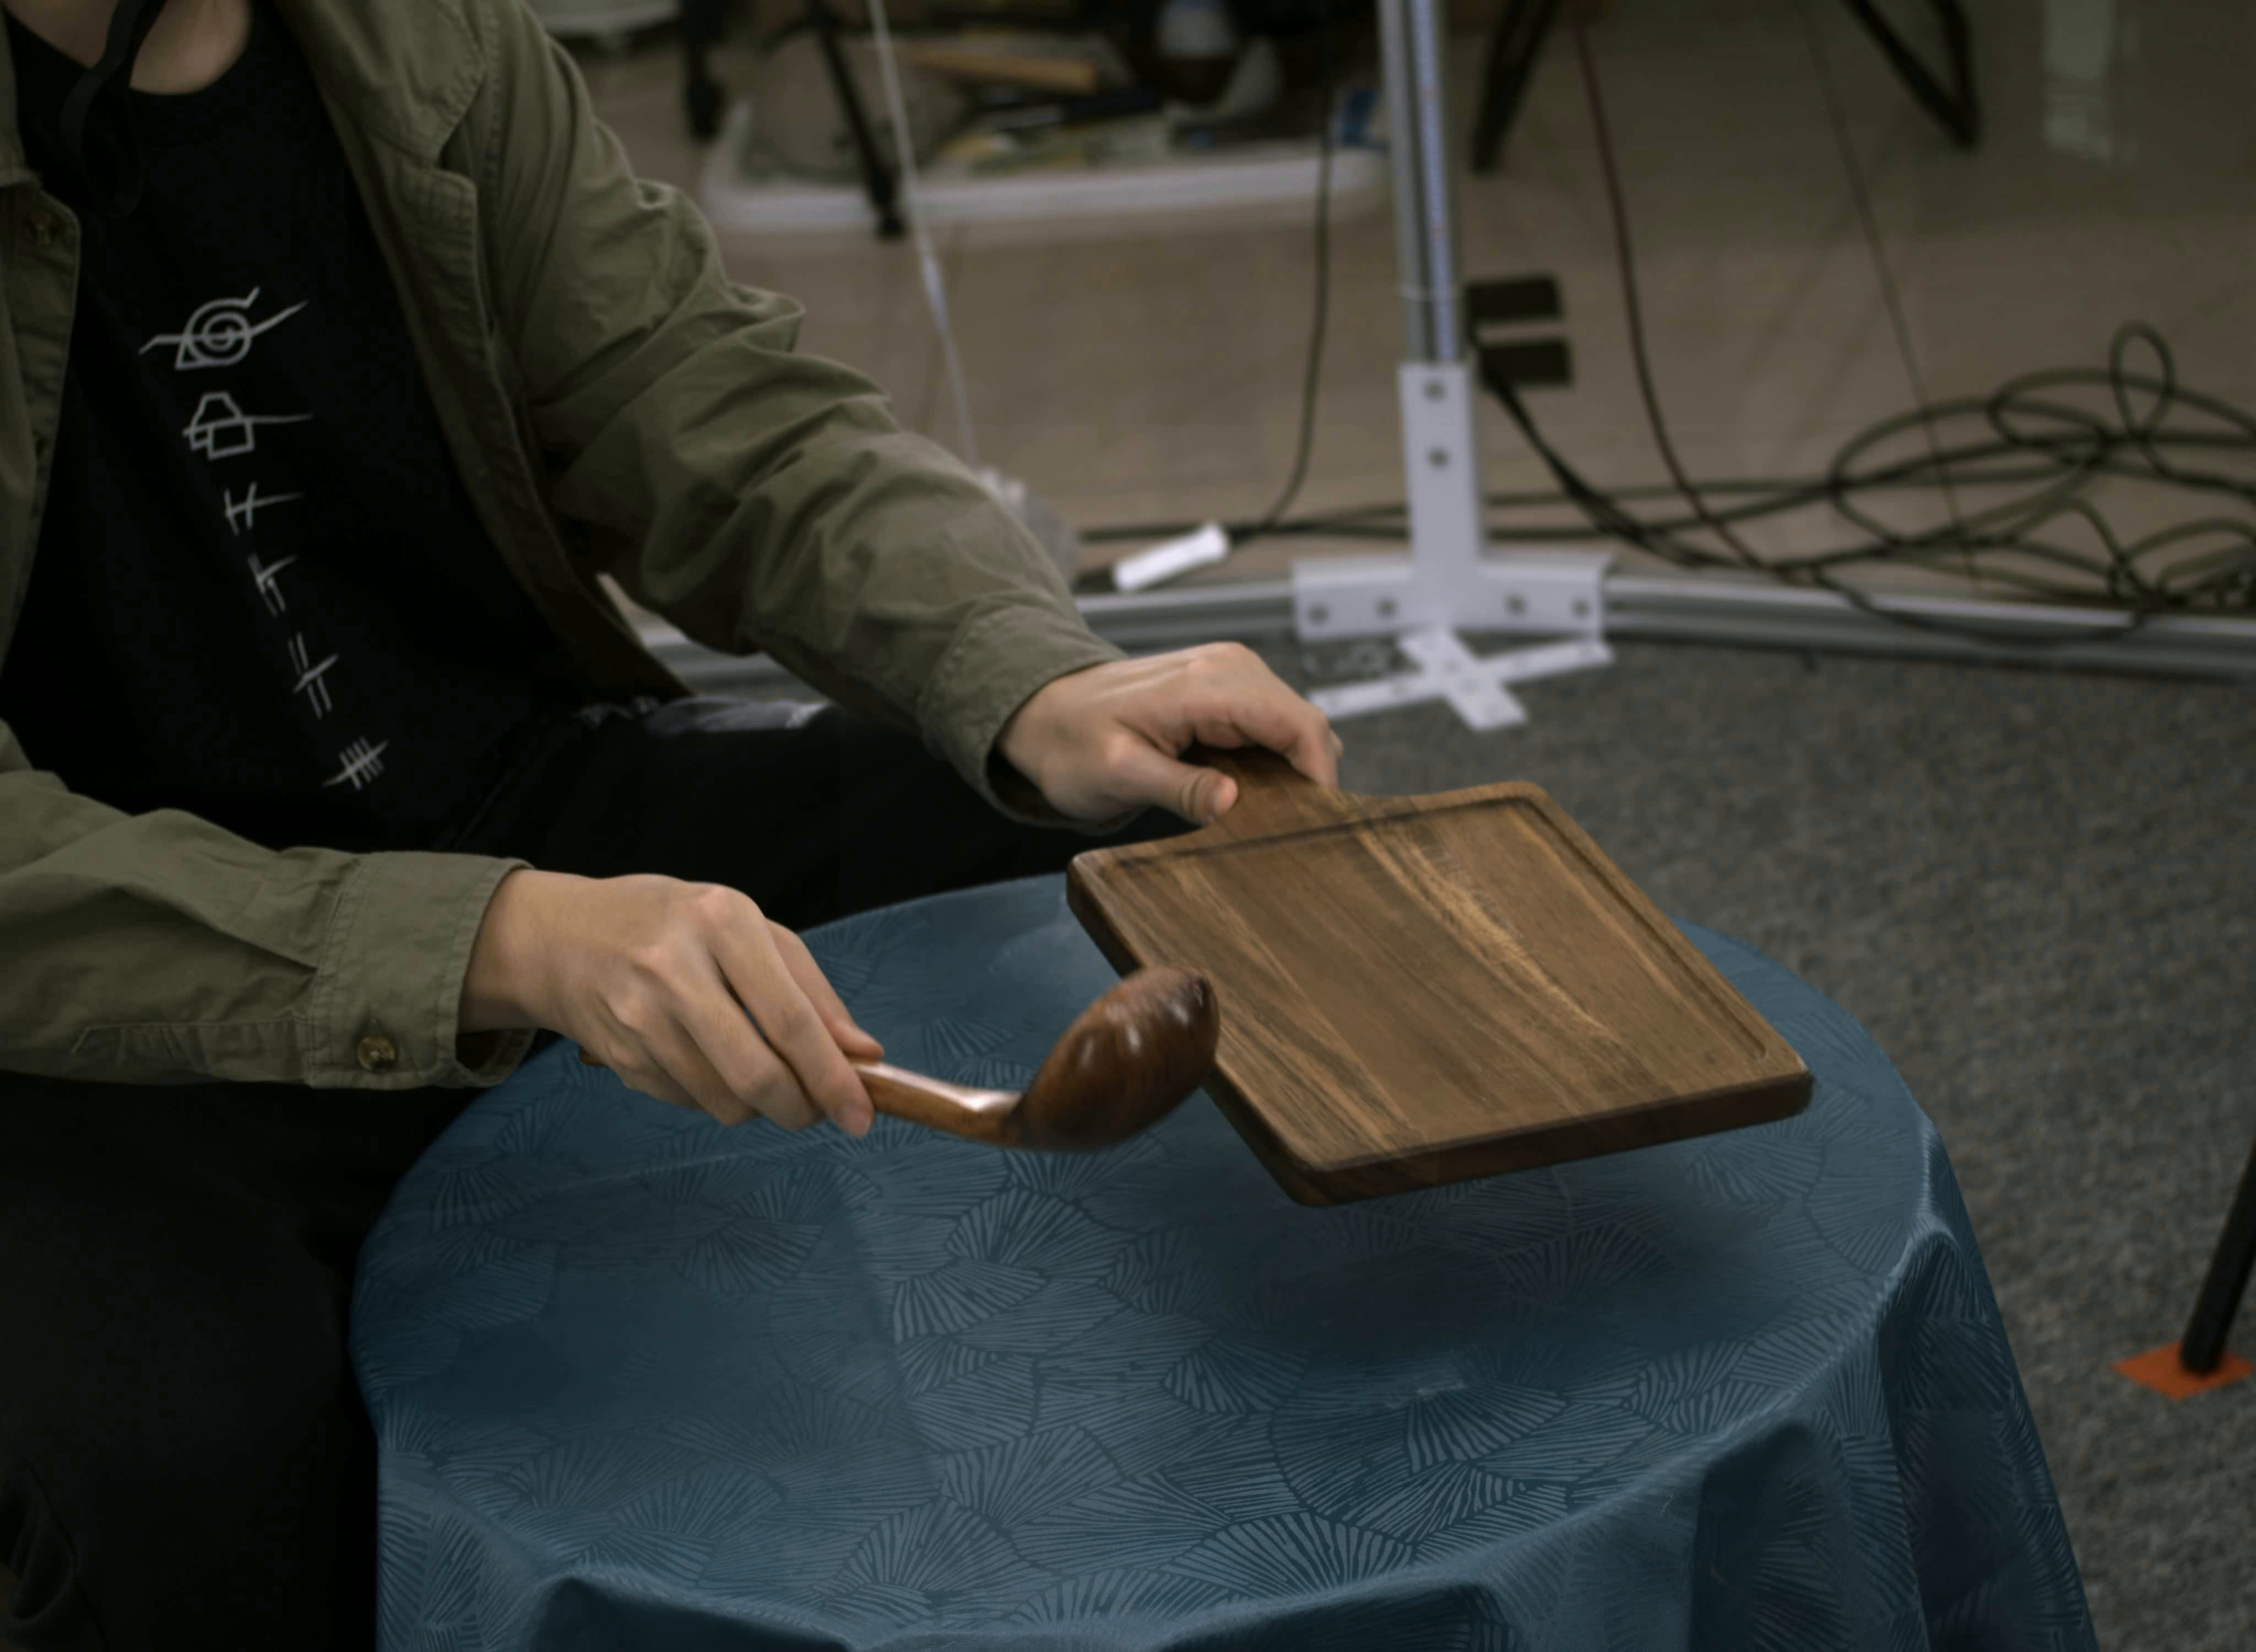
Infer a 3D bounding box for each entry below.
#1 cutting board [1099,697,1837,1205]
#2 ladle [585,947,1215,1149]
[{"bbox_3d":[0.105,0.033,2.121,0.200,0.023,0.347,-9,29,-16],"label":"cutting board"},{"bbox_3d":[-0.089,0.066,1.989,0.273,0.077,0.081,8,11,37],"label":"ladle"}]
